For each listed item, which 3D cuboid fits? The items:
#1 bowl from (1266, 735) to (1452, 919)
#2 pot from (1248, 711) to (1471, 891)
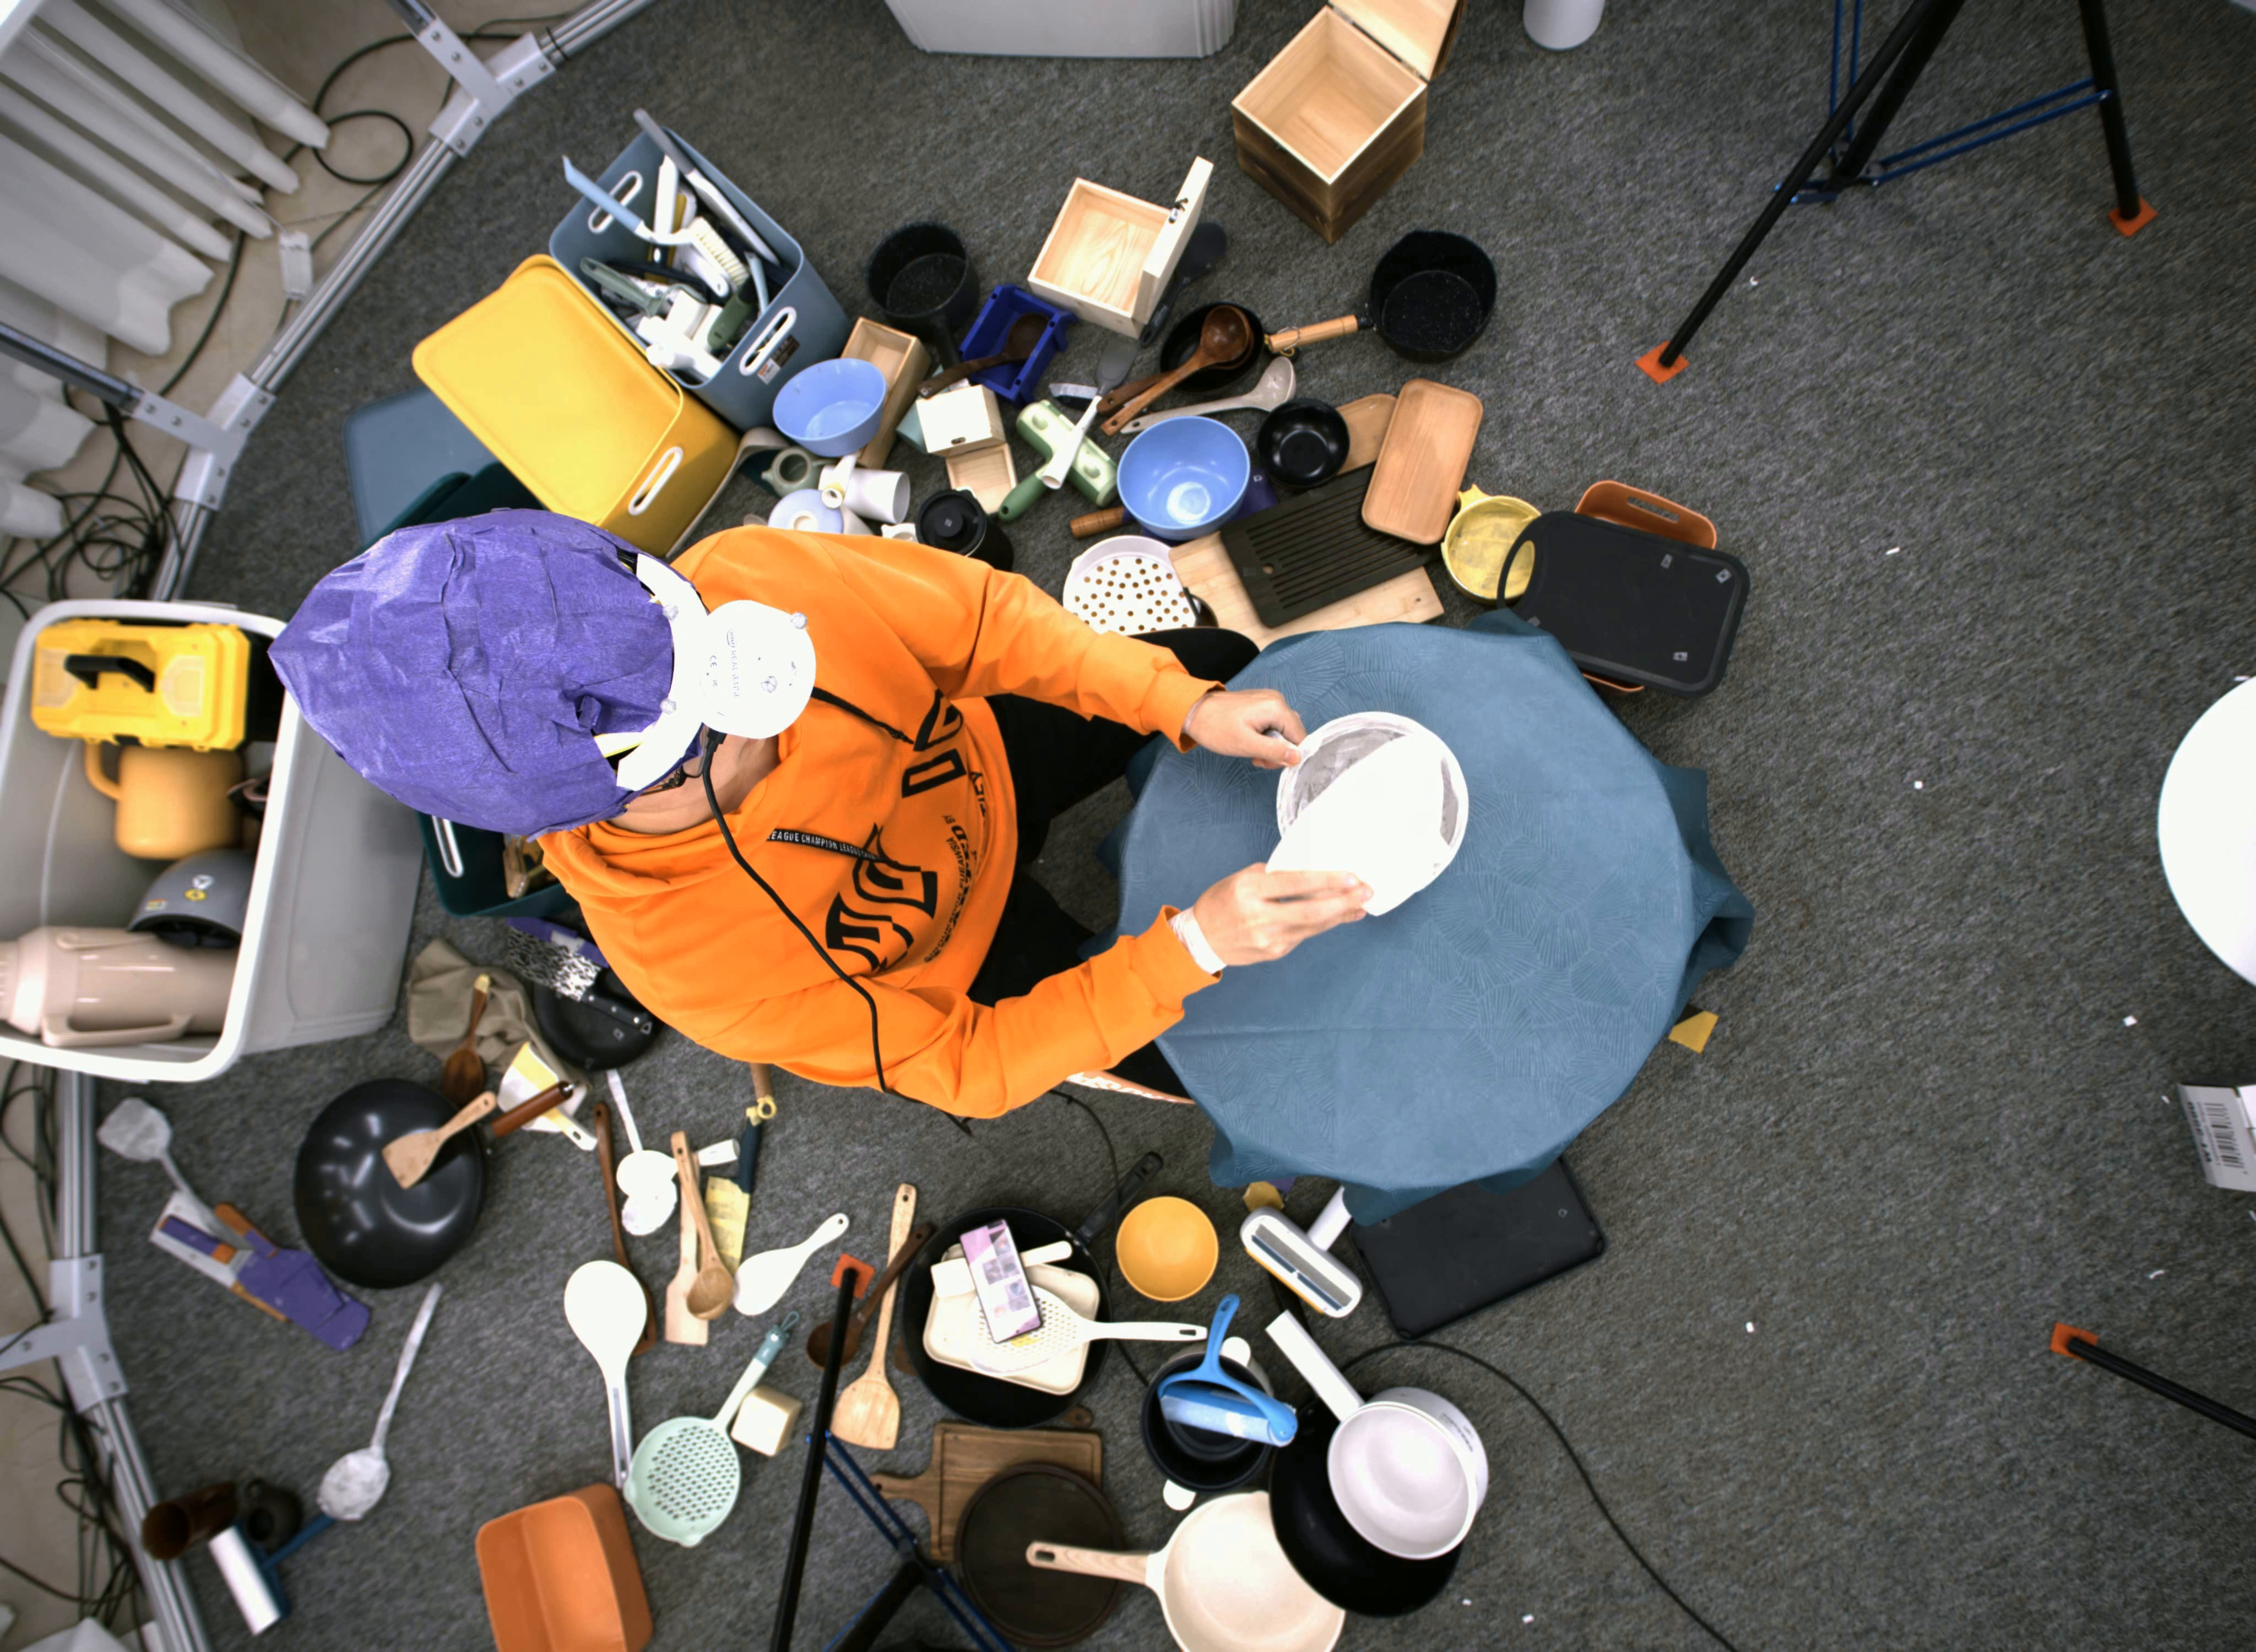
[{"bbox_3d":[0.218,0.021,1.178,0.205,0.205,0.077,-44,68,4],"label":"bowl"},{"bbox_3d":[0.217,-0.033,1.345,0.233,0.136,0.180,32,97,10],"label":"pot"}]
